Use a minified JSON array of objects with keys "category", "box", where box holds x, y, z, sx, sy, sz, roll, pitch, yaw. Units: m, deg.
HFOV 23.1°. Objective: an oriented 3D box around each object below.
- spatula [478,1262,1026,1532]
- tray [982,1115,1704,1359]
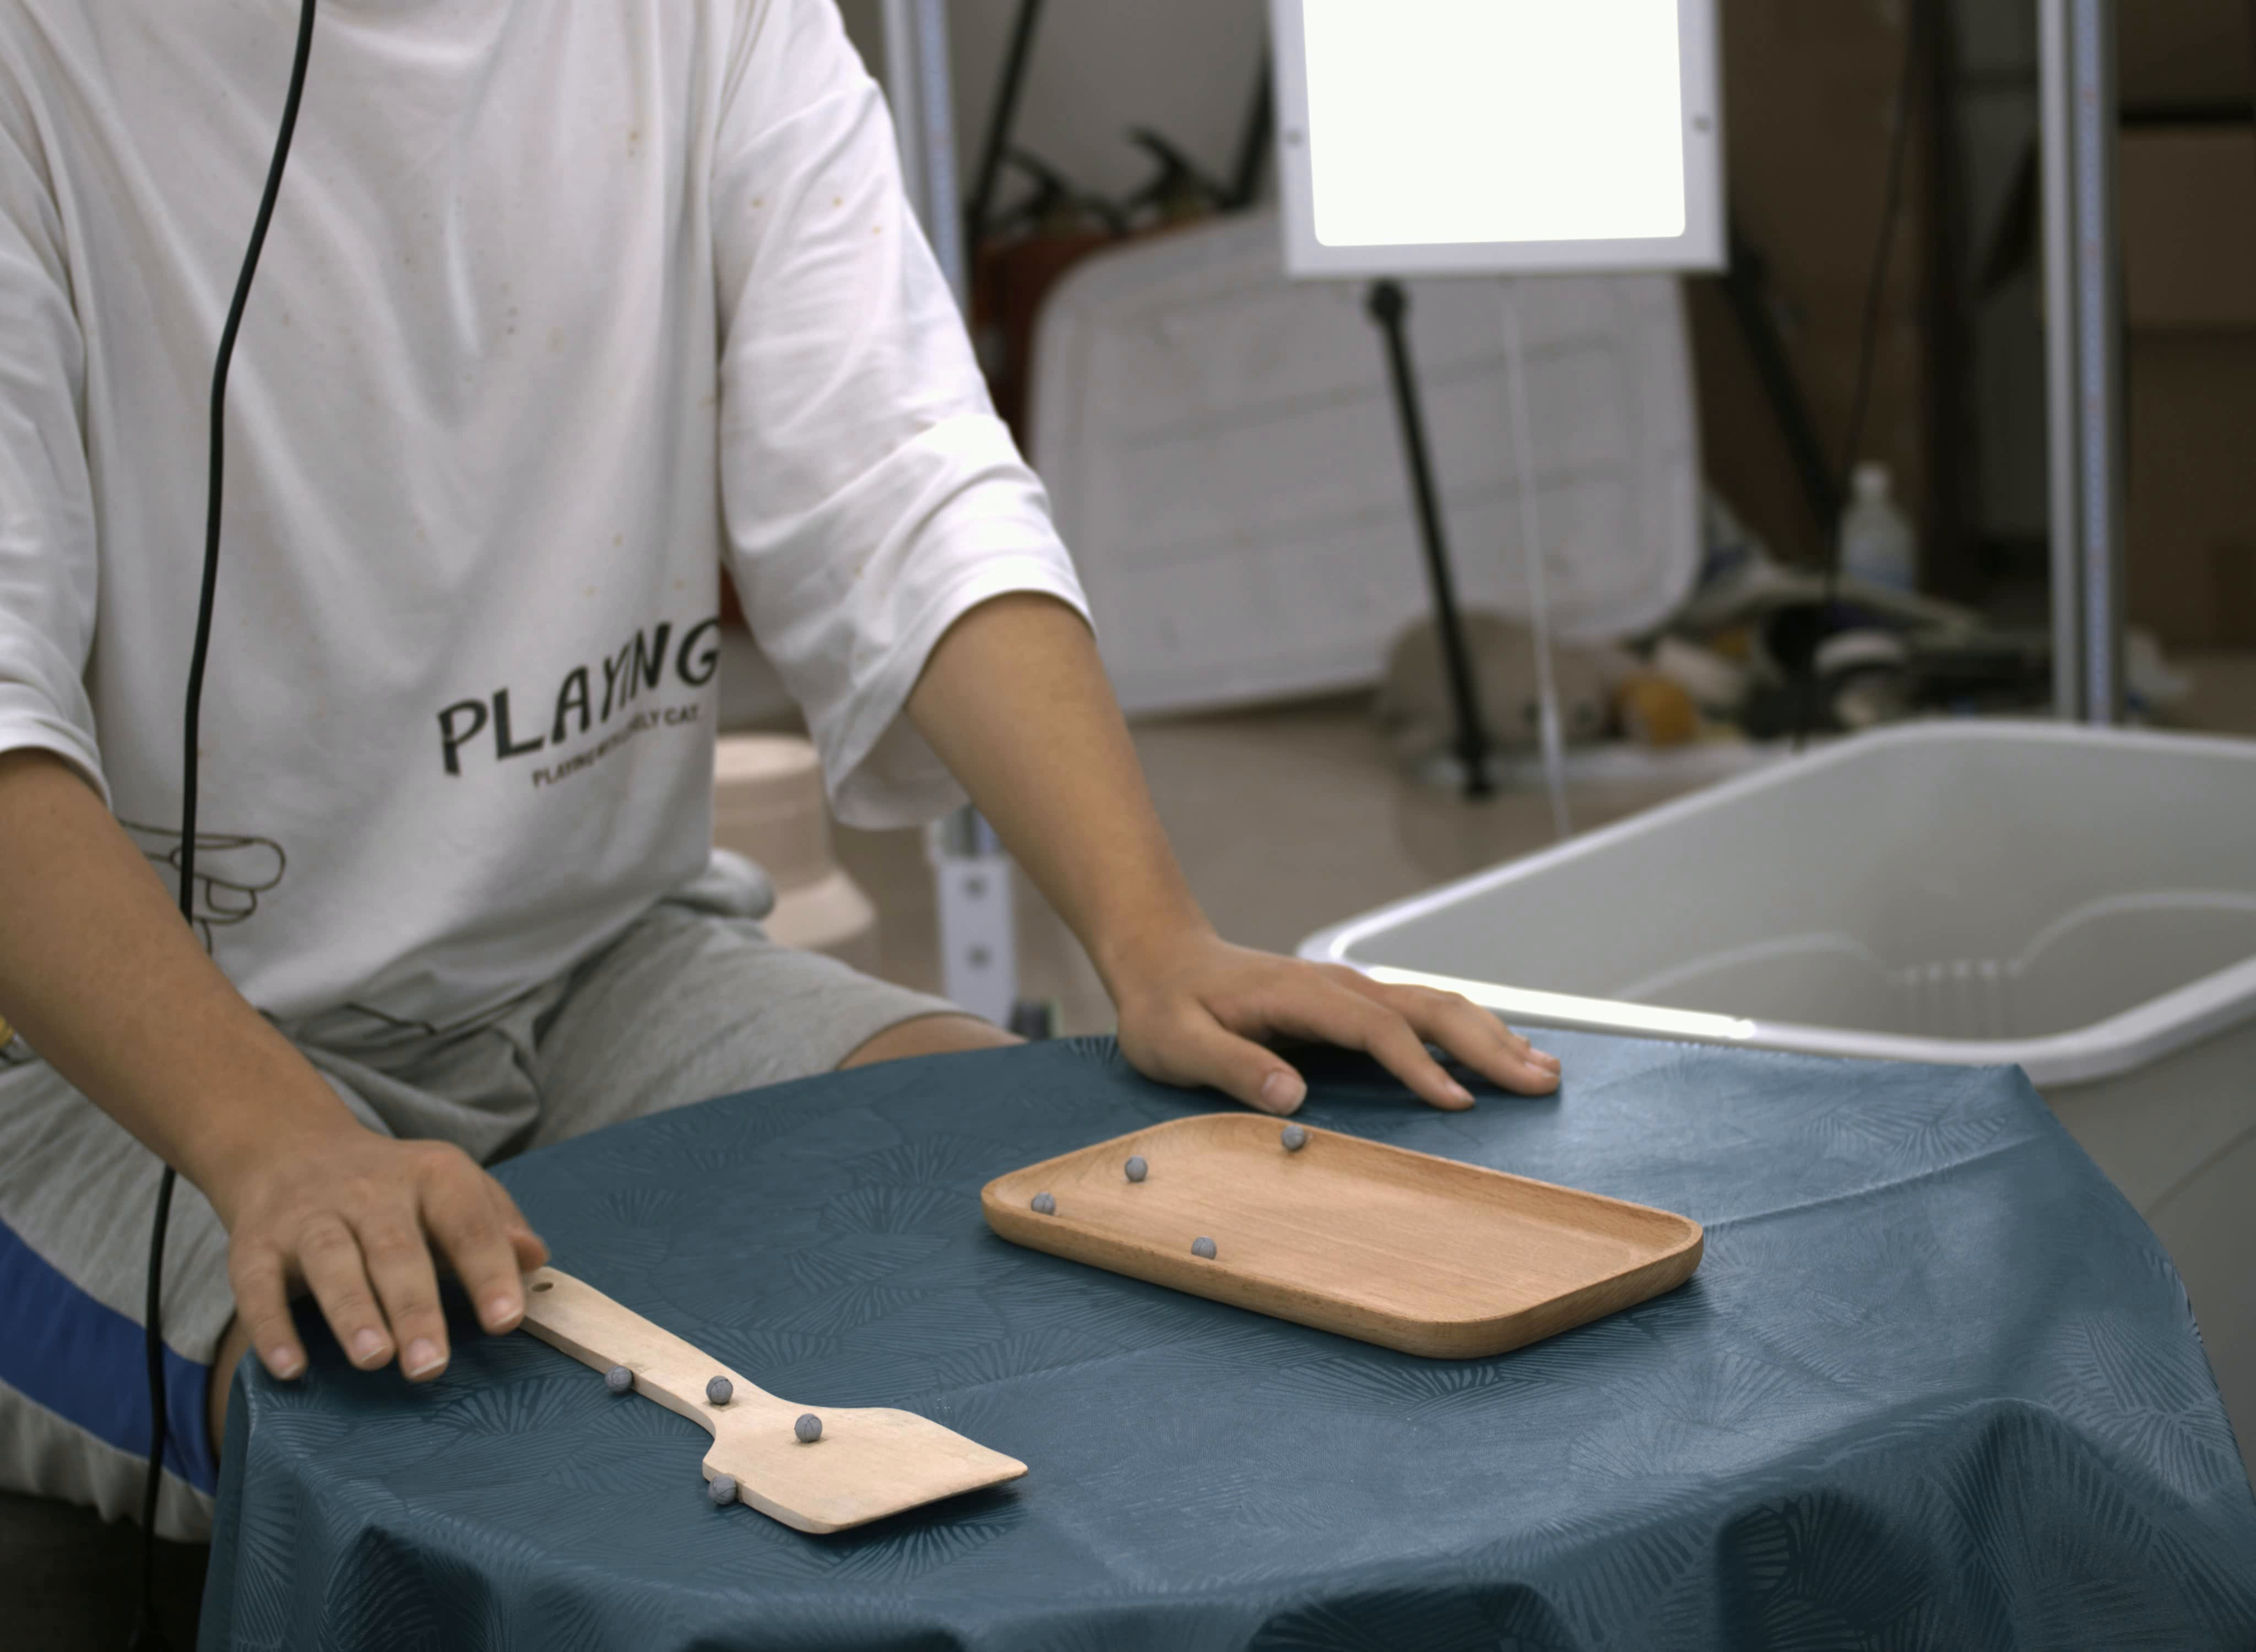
[{"category":"spatula","box":[-0.133,0.175,1.726,0.070,0.011,0.298,-14,16,-29]},{"category":"tray","box":[0.068,0.133,1.811,0.127,0.023,0.256,-18,19,-35]}]
